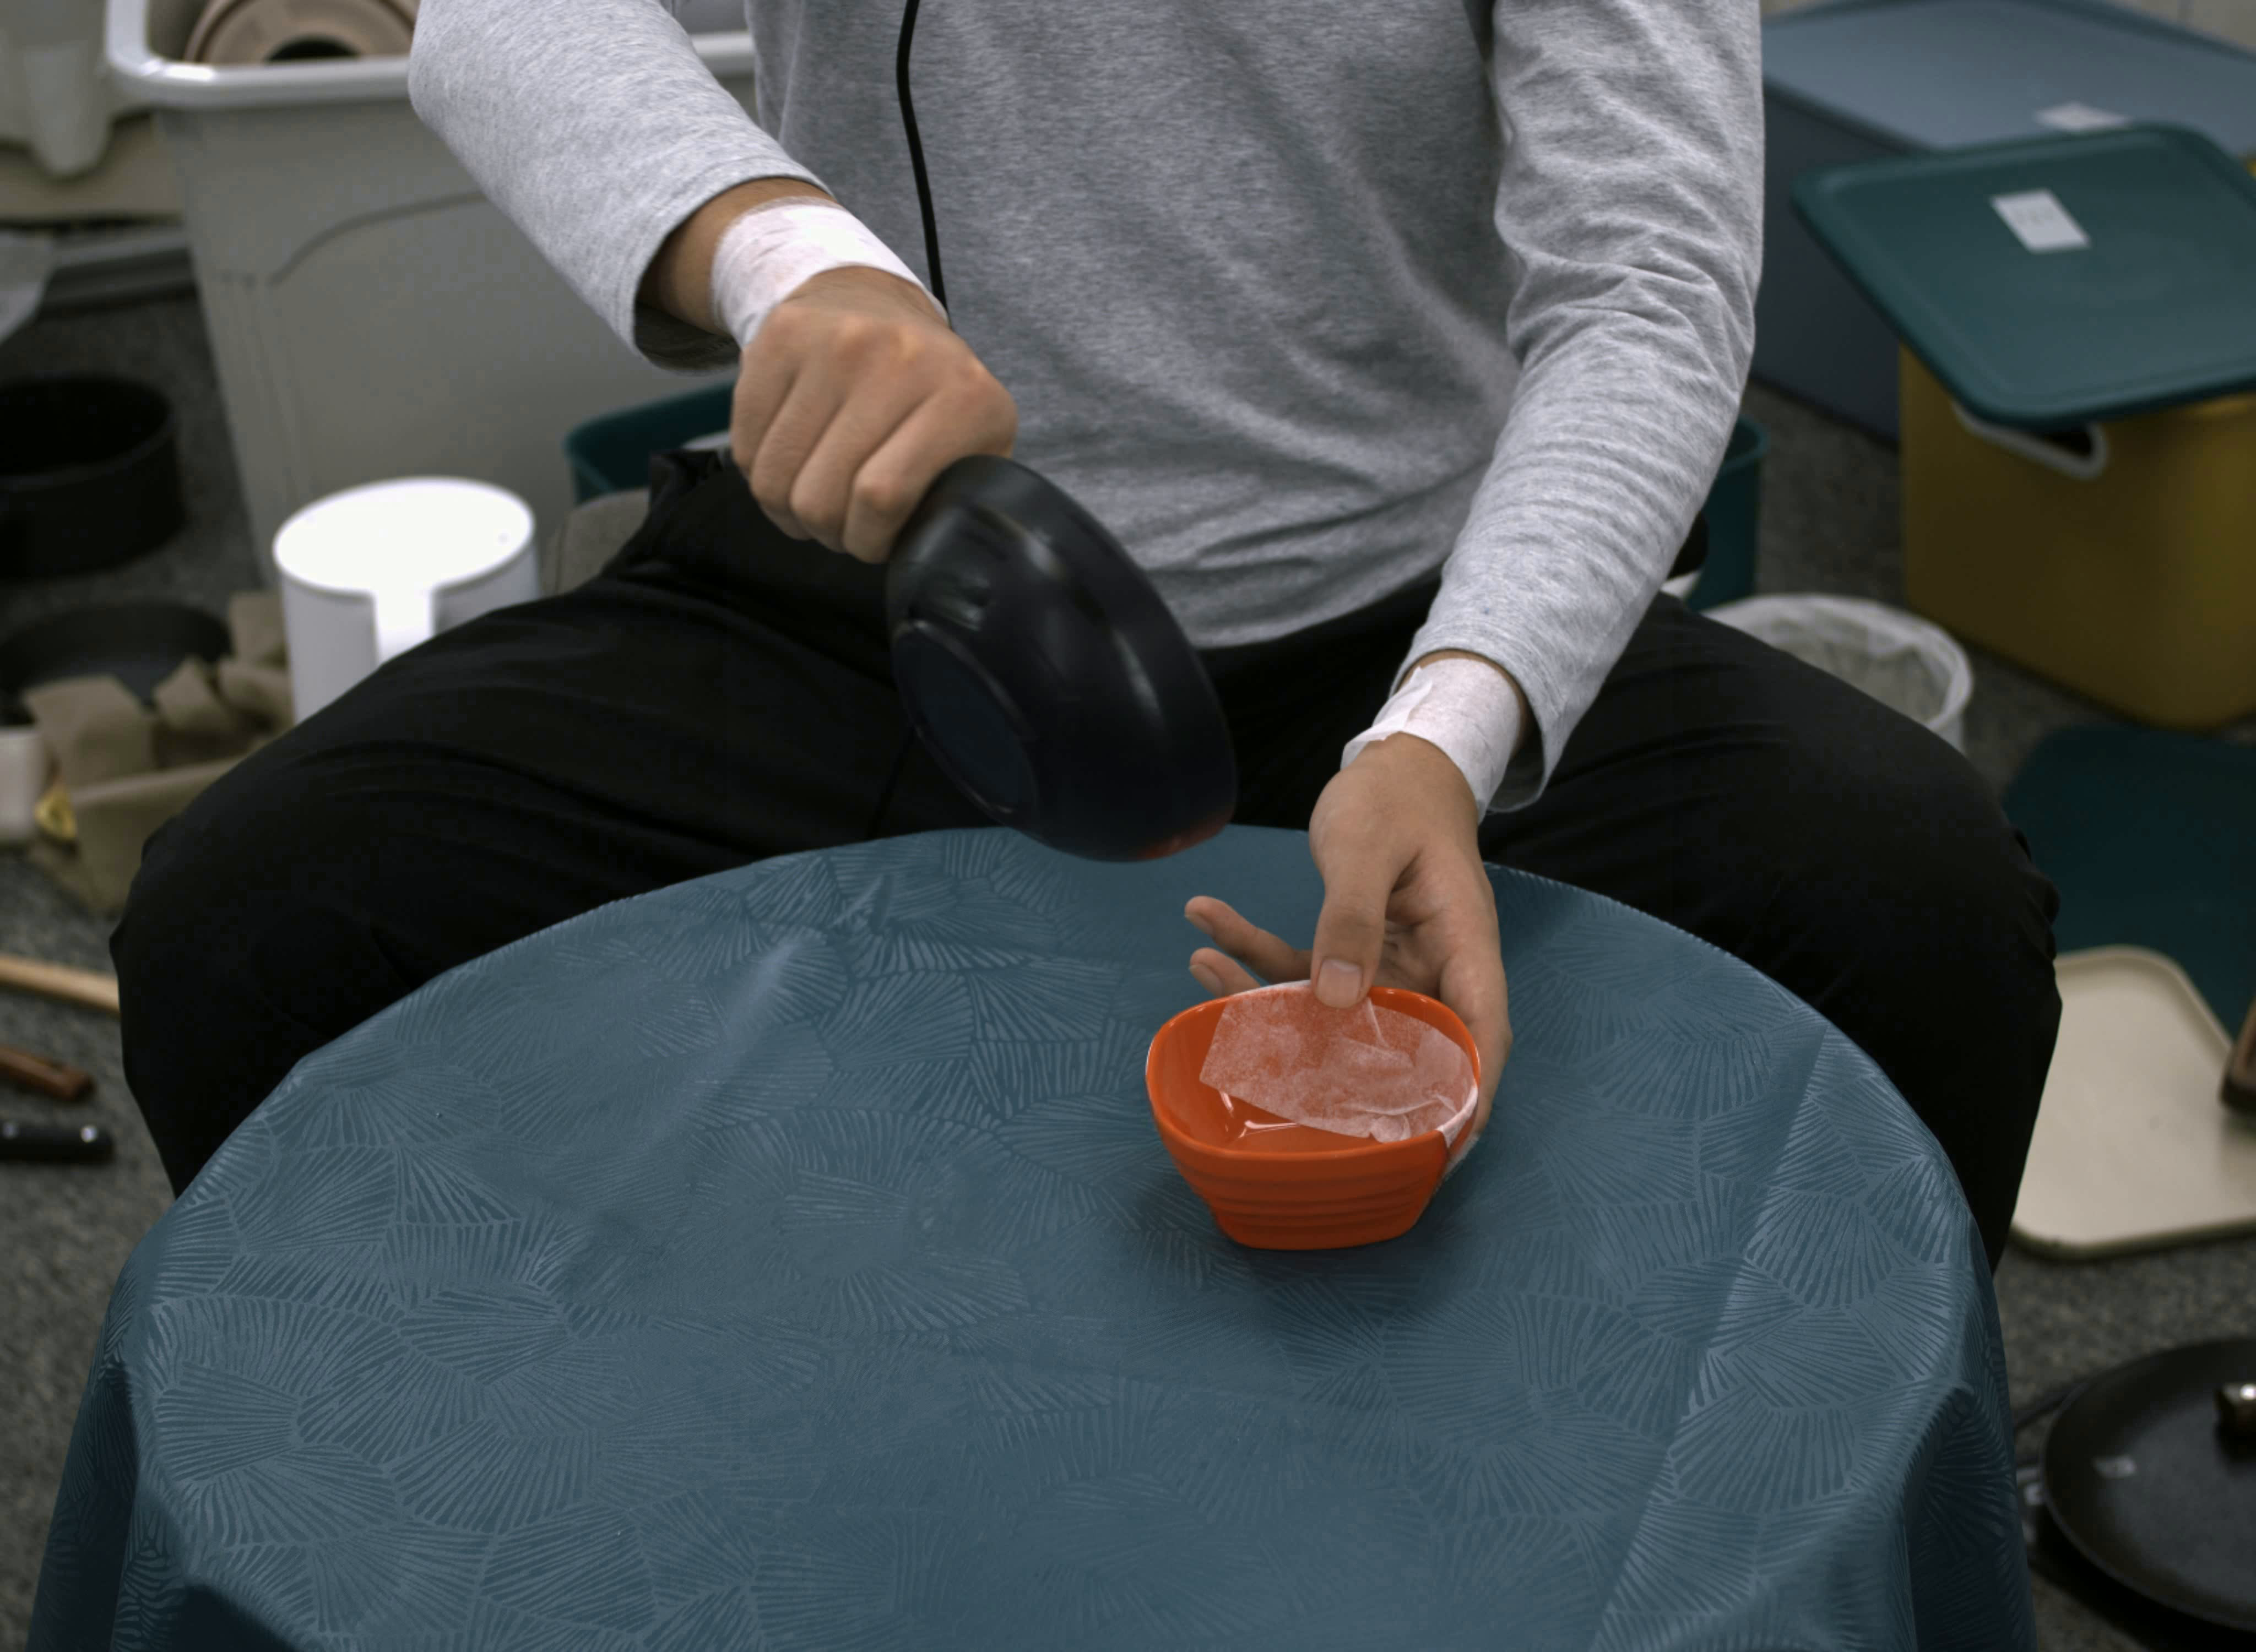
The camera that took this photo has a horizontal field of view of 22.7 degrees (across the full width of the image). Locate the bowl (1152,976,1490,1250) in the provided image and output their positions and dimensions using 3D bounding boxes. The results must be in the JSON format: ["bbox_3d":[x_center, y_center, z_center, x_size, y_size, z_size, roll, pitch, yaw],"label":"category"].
[{"bbox_3d":[0.064,0.099,1.840,0.118,0.051,0.121,-3,30,2],"label":"bowl"}]

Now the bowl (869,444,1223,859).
[{"bbox_3d":[-0.035,-0.043,1.696,0.050,0.138,0.140,-34,39,-26],"label":"bowl"}]
